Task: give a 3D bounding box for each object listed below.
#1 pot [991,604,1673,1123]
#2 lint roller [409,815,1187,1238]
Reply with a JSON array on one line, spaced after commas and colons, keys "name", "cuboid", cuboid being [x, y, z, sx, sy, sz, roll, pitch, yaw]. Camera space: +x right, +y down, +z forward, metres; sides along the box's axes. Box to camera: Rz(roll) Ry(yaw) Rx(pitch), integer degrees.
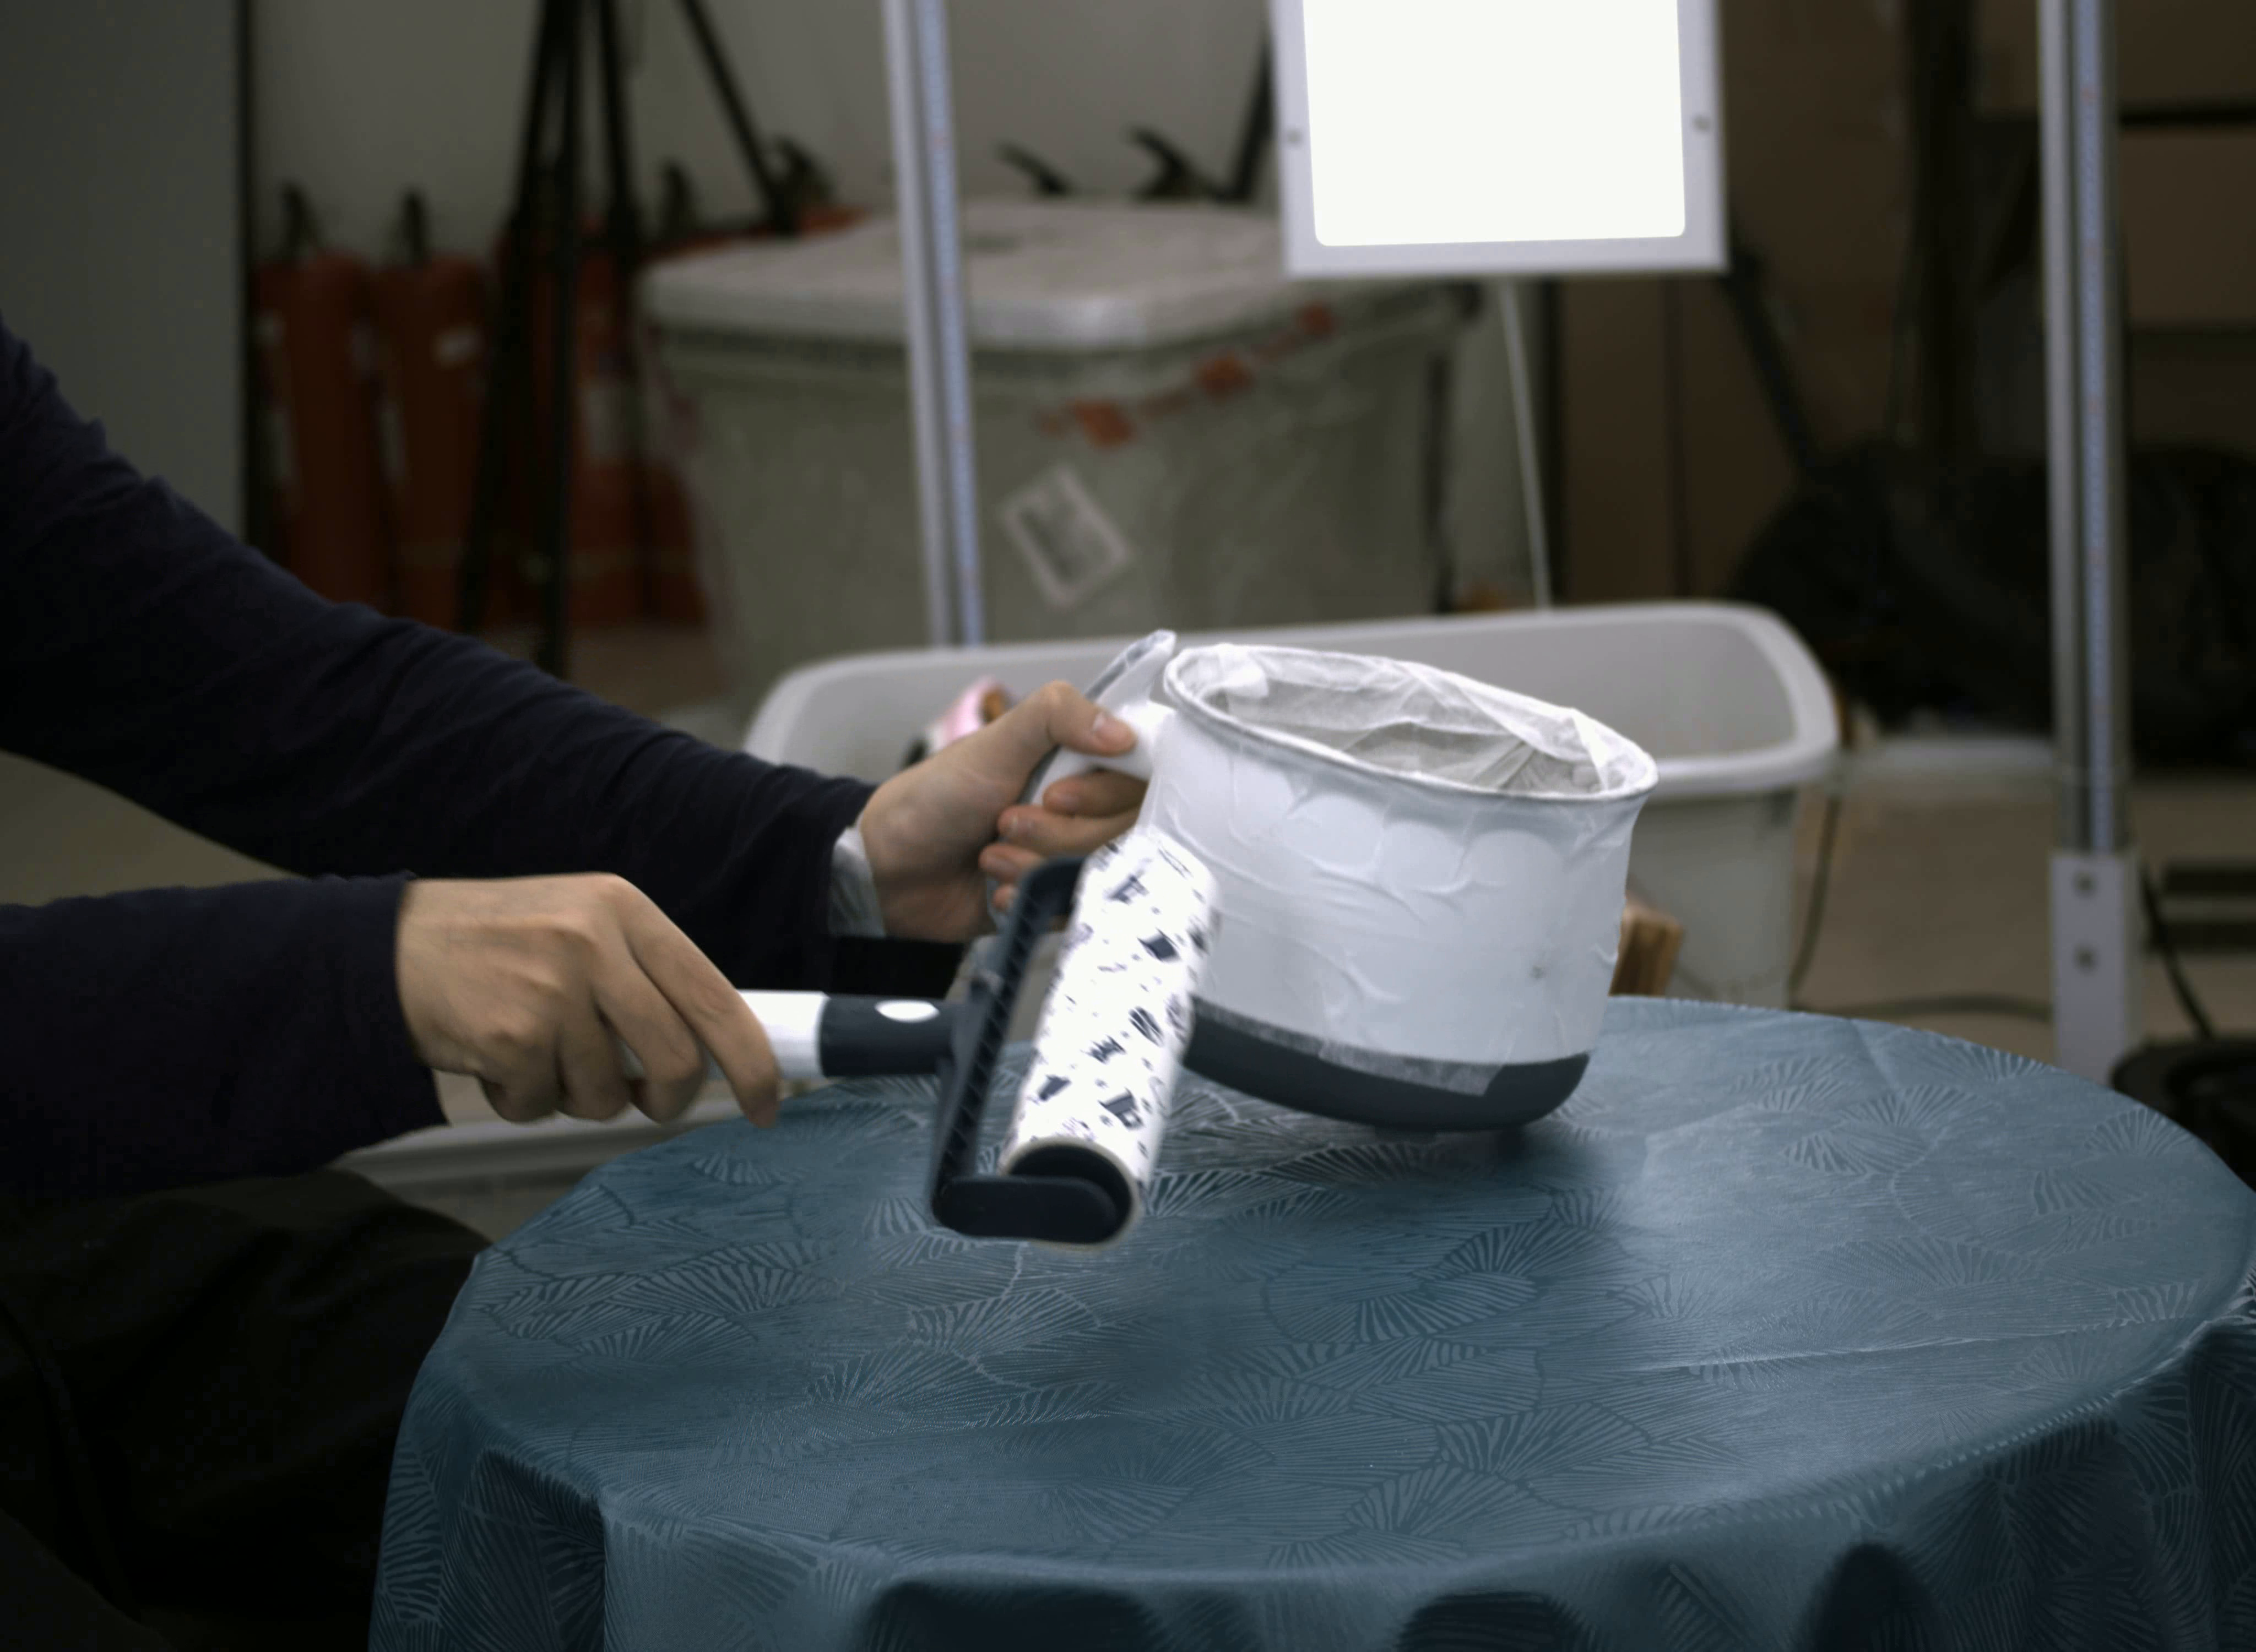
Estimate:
[{"name": "pot", "cuboid": [0.065, 0.009, 1.942, 0.237, 0.137, 0.175, 20, 13, 23]}, {"name": "lint roller", "cuboid": [-0.112, 0.063, 1.764, 0.248, 0.050, 0.174, 0, 37, 11]}]
